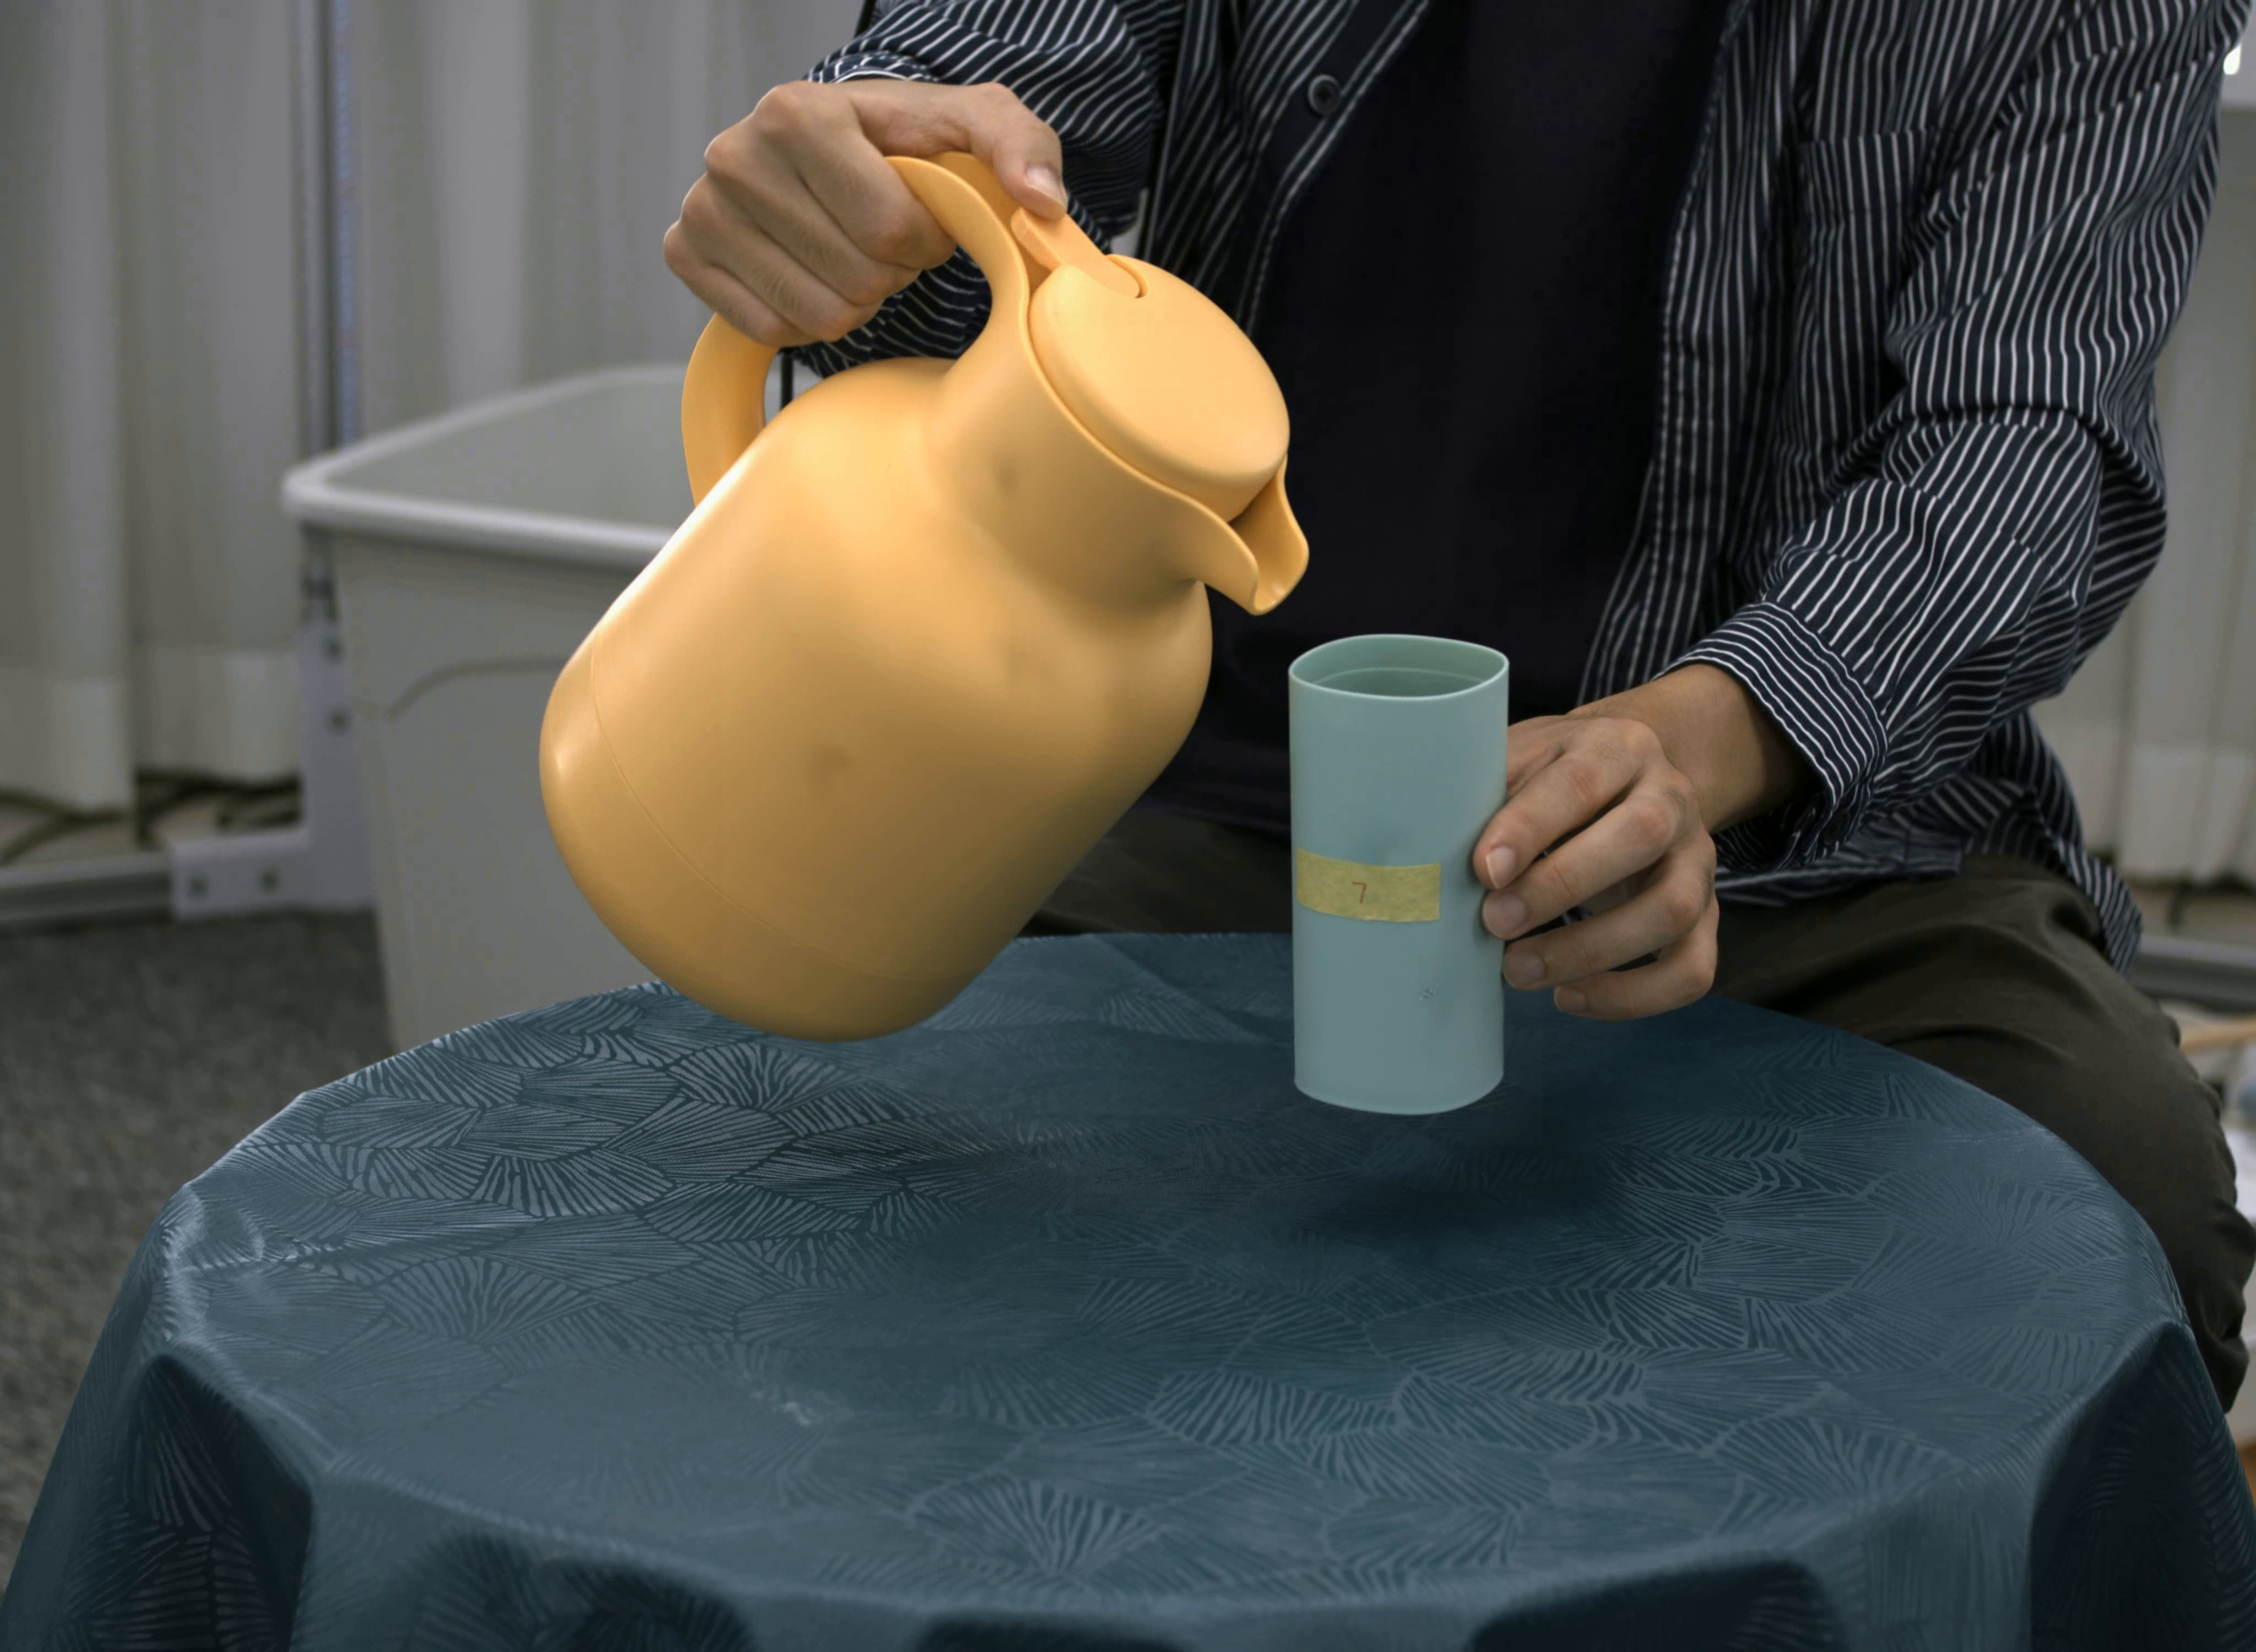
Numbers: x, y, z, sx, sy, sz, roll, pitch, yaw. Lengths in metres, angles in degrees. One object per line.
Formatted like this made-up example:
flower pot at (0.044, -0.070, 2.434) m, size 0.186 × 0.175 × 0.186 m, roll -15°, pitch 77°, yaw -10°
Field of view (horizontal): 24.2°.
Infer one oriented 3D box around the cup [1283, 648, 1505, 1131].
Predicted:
cup at (0.081, 0.018, 1.574) m, size 0.066 × 0.133 × 0.066 m, roll -1°, pitch 19°, yaw 1°

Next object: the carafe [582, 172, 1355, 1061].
carafe at (-0.055, -0.071, 1.618) m, size 0.201 × 0.260 × 0.164 m, roll 53°, pitch 34°, yaw 13°
